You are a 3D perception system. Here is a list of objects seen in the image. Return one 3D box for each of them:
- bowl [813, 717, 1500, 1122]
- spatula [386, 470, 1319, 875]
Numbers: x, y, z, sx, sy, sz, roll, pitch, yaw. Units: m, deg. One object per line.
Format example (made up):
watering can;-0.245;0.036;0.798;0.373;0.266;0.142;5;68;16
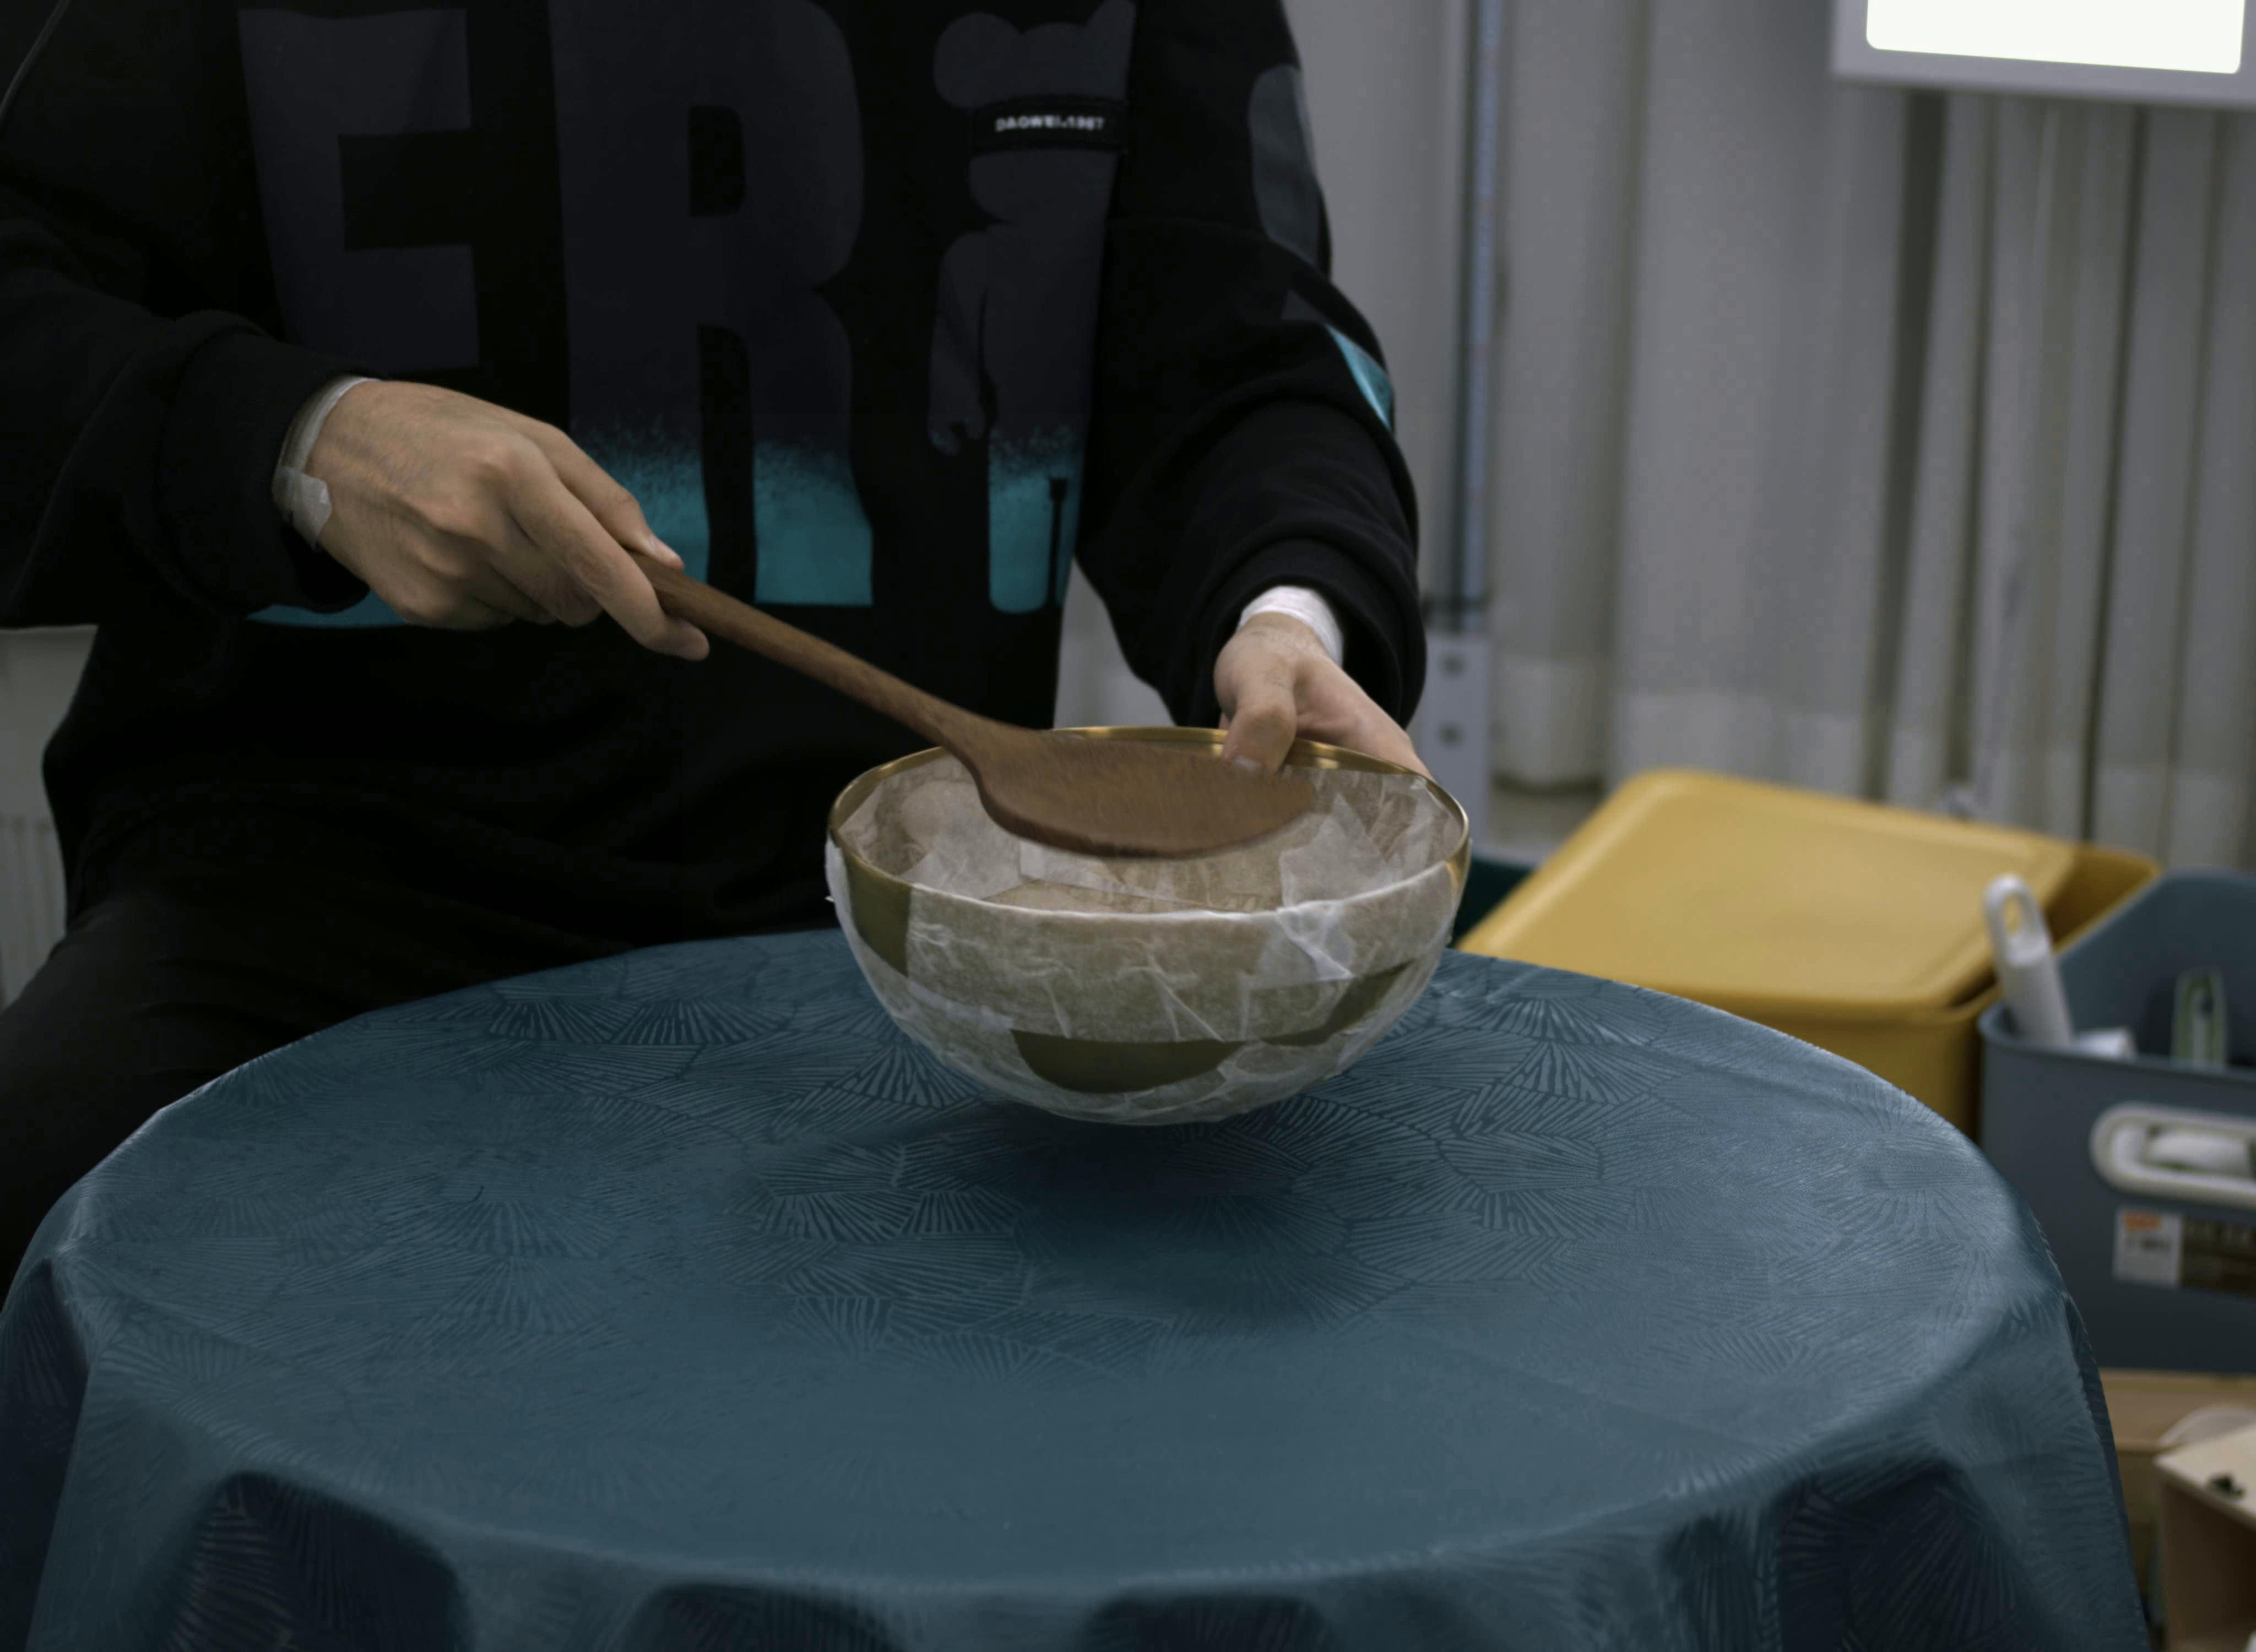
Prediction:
bowl;0.007;0.037;1.642;0.214;0.095;0.213;0;17;1
spatula;-0.105;-0.055;1.694;0.381;0.016;0.096;25;28;33
